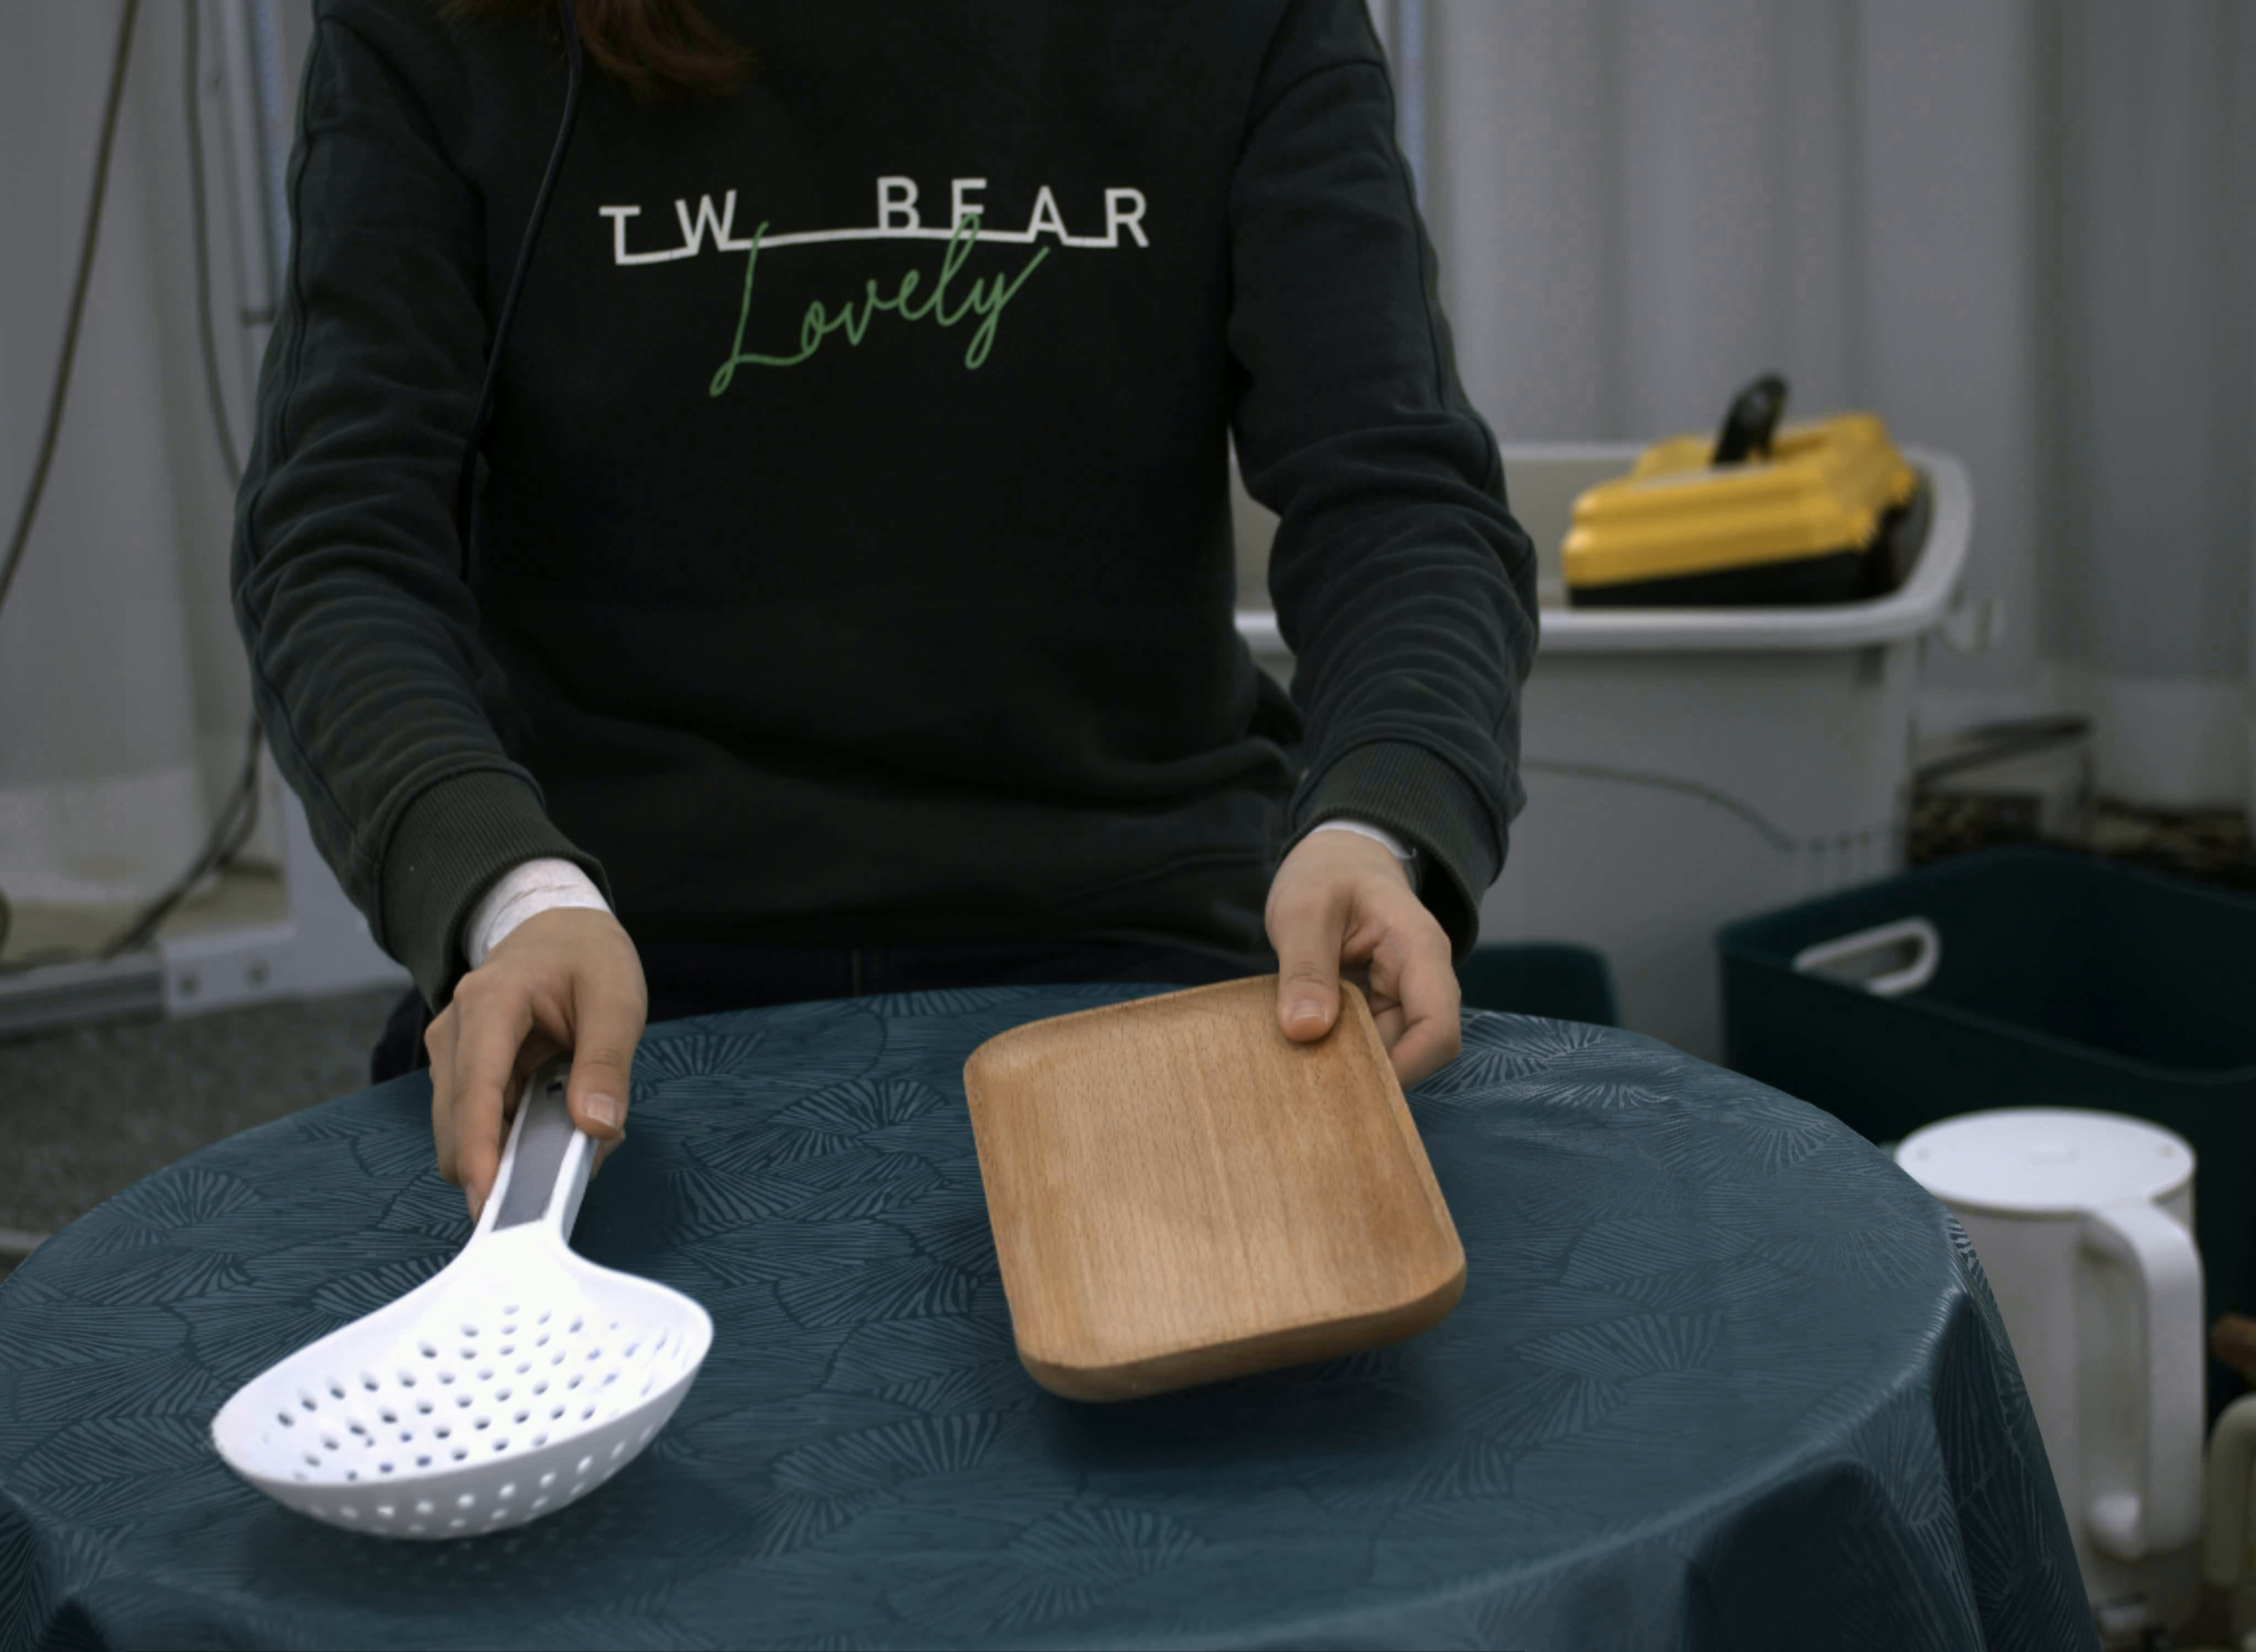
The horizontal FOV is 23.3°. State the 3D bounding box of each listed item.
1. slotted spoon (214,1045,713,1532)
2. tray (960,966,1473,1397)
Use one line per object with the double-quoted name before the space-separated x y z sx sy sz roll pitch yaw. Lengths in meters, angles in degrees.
"slotted spoon" -0.176 0.124 1.572 0.135 0.045 0.353 -8 20 3
"tray" 0.022 0.101 1.597 0.130 0.023 0.253 -9 19 -3
